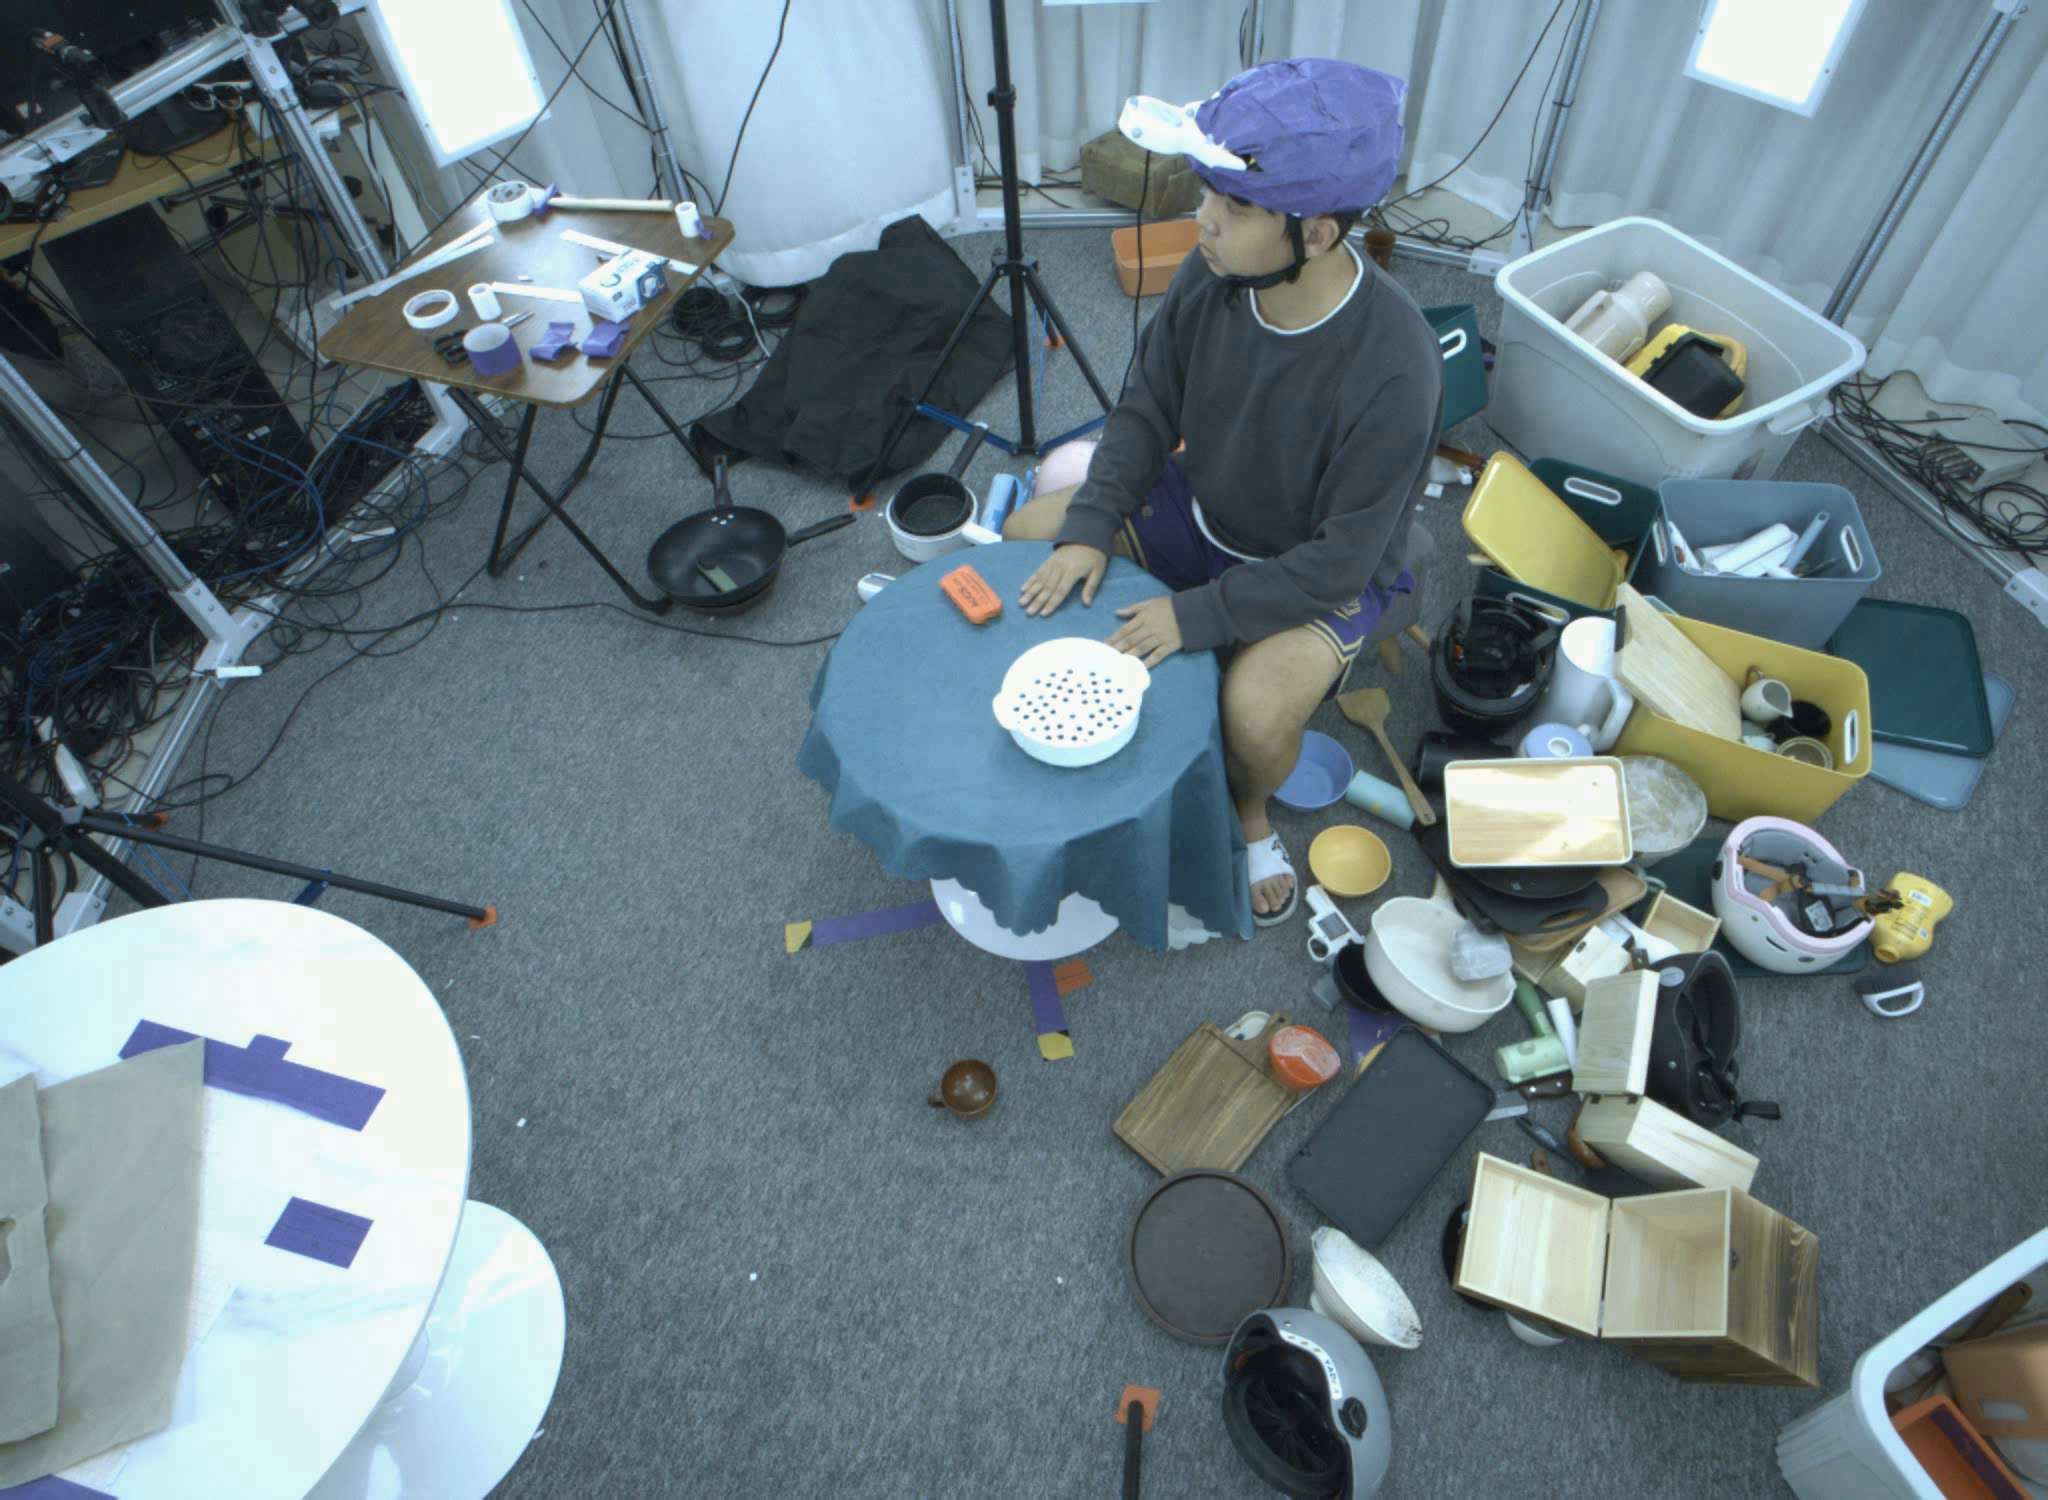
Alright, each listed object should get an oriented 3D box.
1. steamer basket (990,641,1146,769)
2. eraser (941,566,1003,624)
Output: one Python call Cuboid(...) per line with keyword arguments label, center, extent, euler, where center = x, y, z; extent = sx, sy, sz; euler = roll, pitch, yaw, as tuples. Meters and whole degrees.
Cuboid(label="steamer basket", center=(0.066, -0.064, 1.794), extent=(0.232, 0.070, 0.198), euler=(-19, 55, -10))
Cuboid(label="eraser", center=(-0.084, -0.248, 1.950), extent=(0.059, 0.023, 0.106), euler=(-26, 56, -23))
